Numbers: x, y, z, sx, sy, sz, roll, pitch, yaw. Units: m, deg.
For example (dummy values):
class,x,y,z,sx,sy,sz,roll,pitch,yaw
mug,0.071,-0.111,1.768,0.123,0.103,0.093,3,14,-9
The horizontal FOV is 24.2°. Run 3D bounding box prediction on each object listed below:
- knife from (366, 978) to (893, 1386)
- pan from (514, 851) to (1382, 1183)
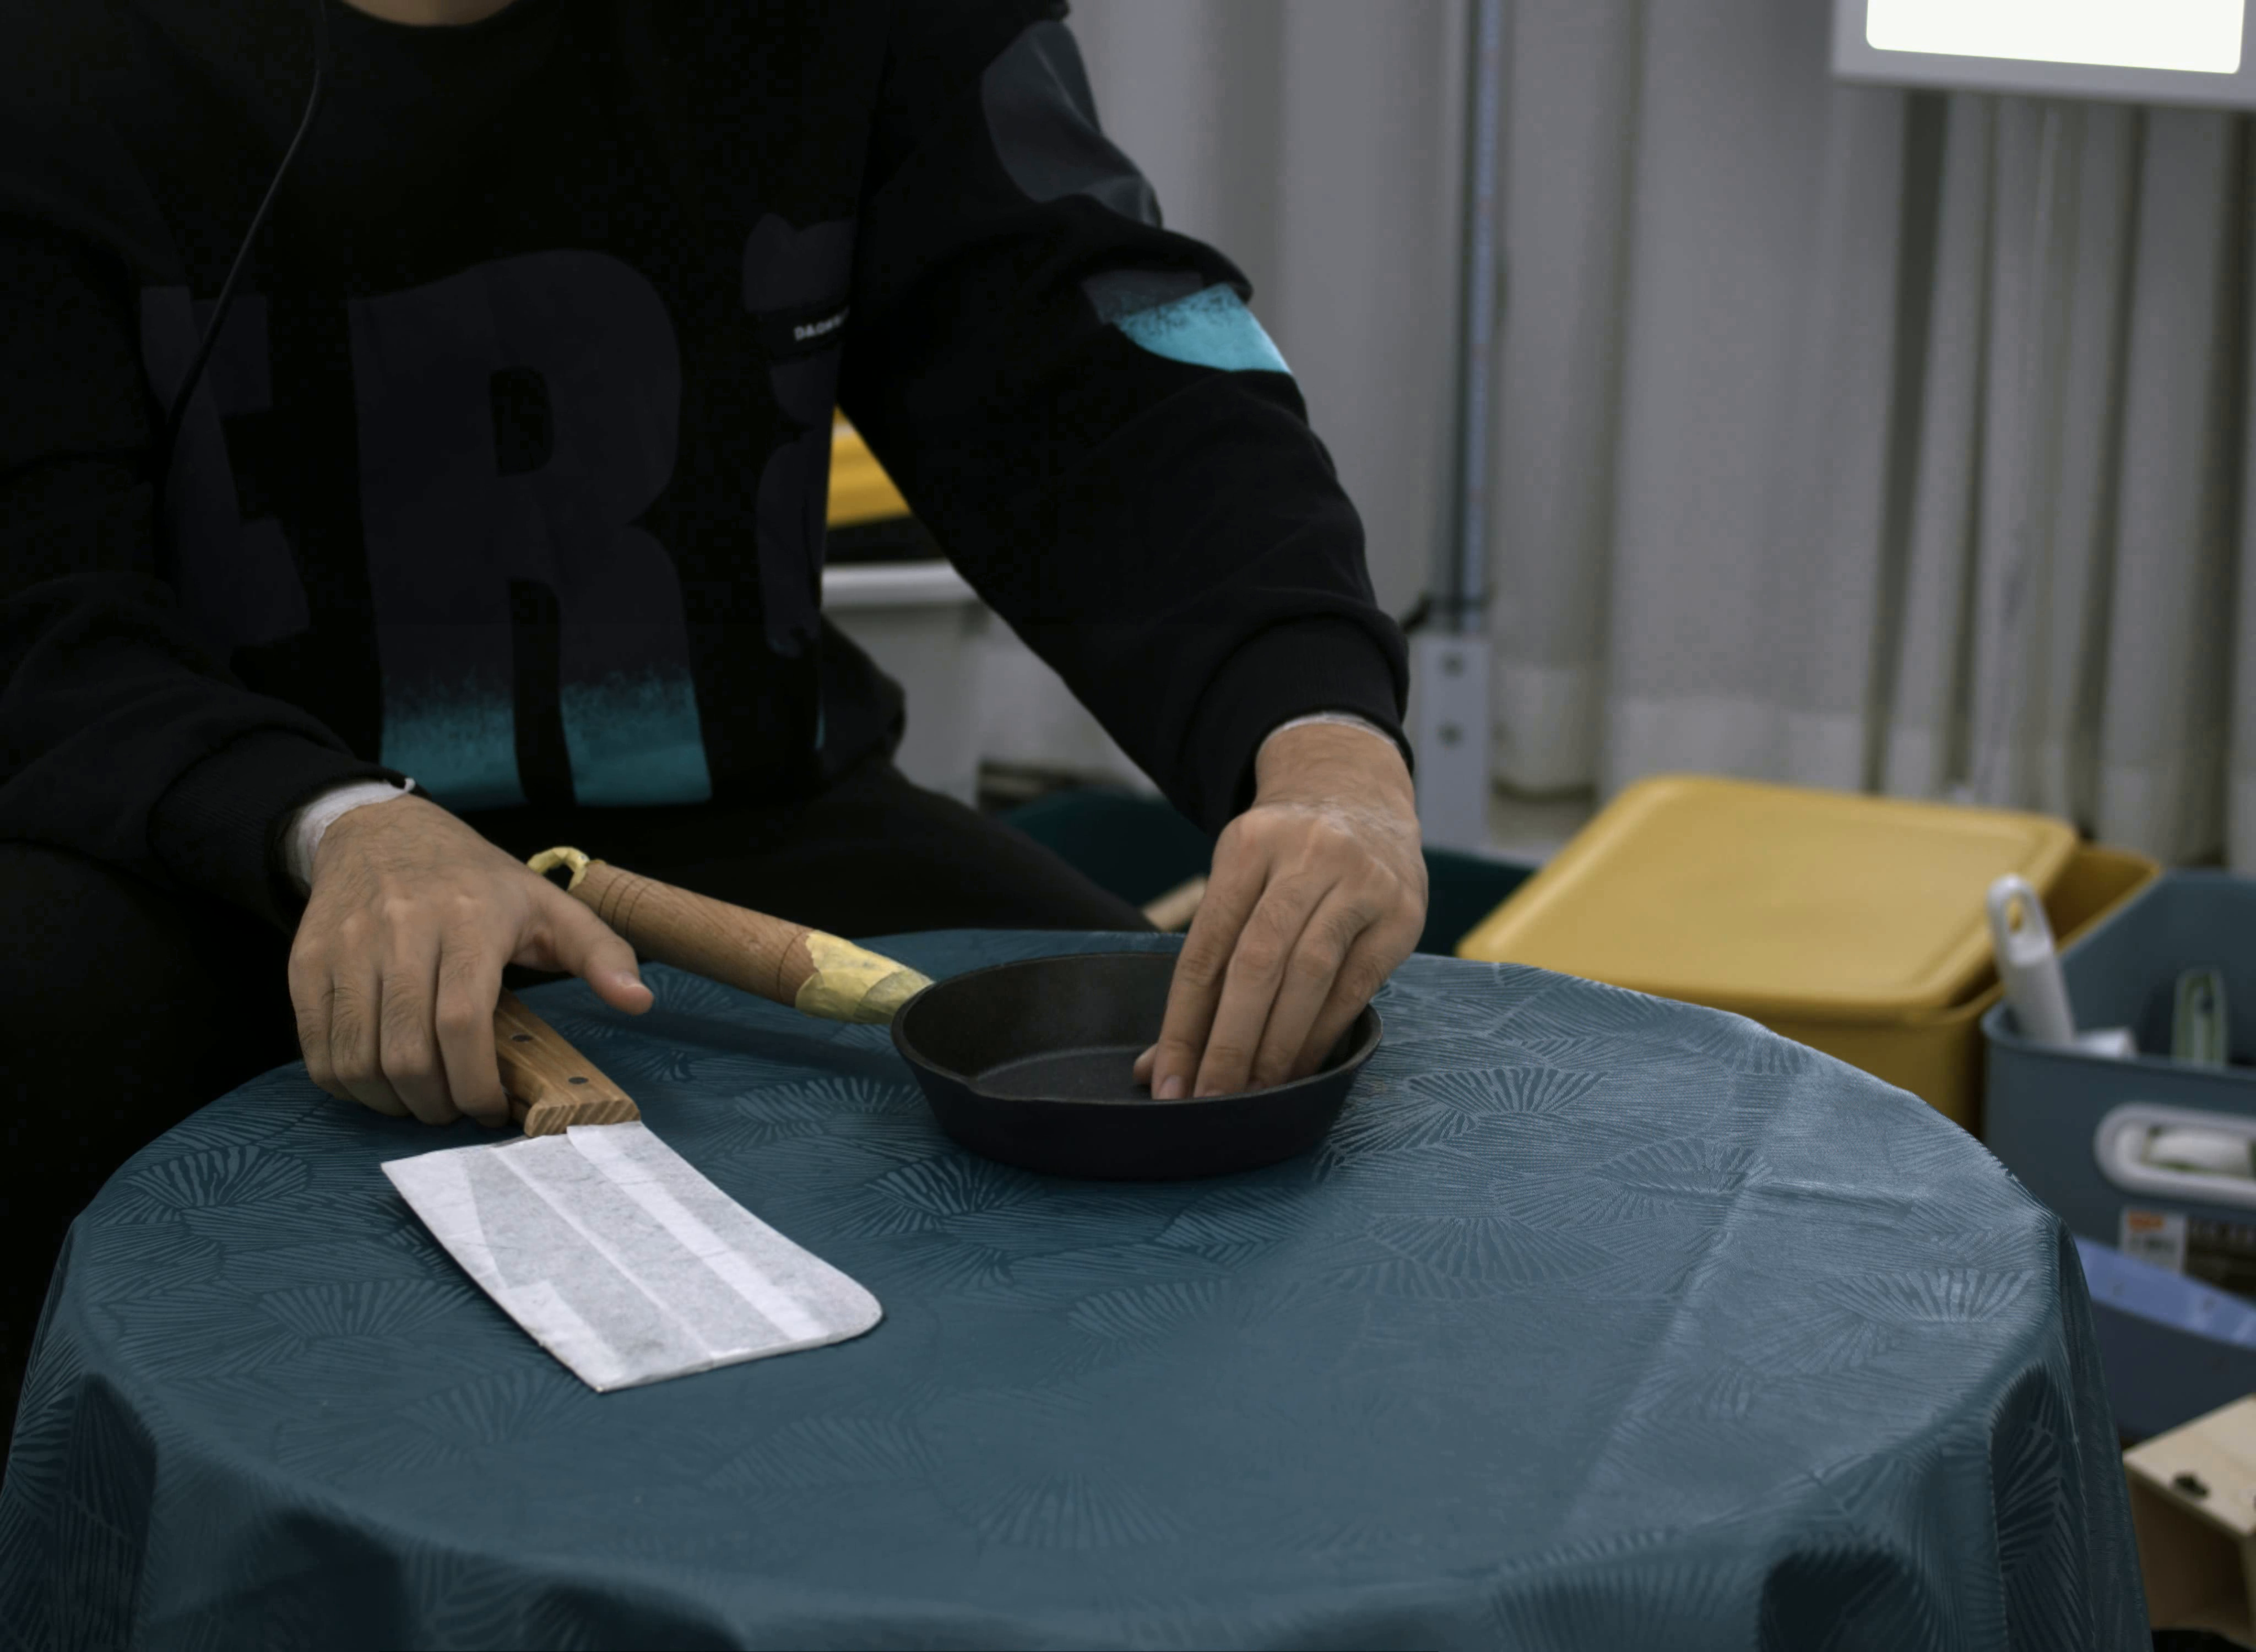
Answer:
class,x,y,z,sx,sy,sz,roll,pitch,yaw
knife,-0.169,0.106,1.608,0.114,0.022,0.311,-7,20,-23
pan,-0.068,0.058,1.723,0.320,0.050,0.169,11,19,30
